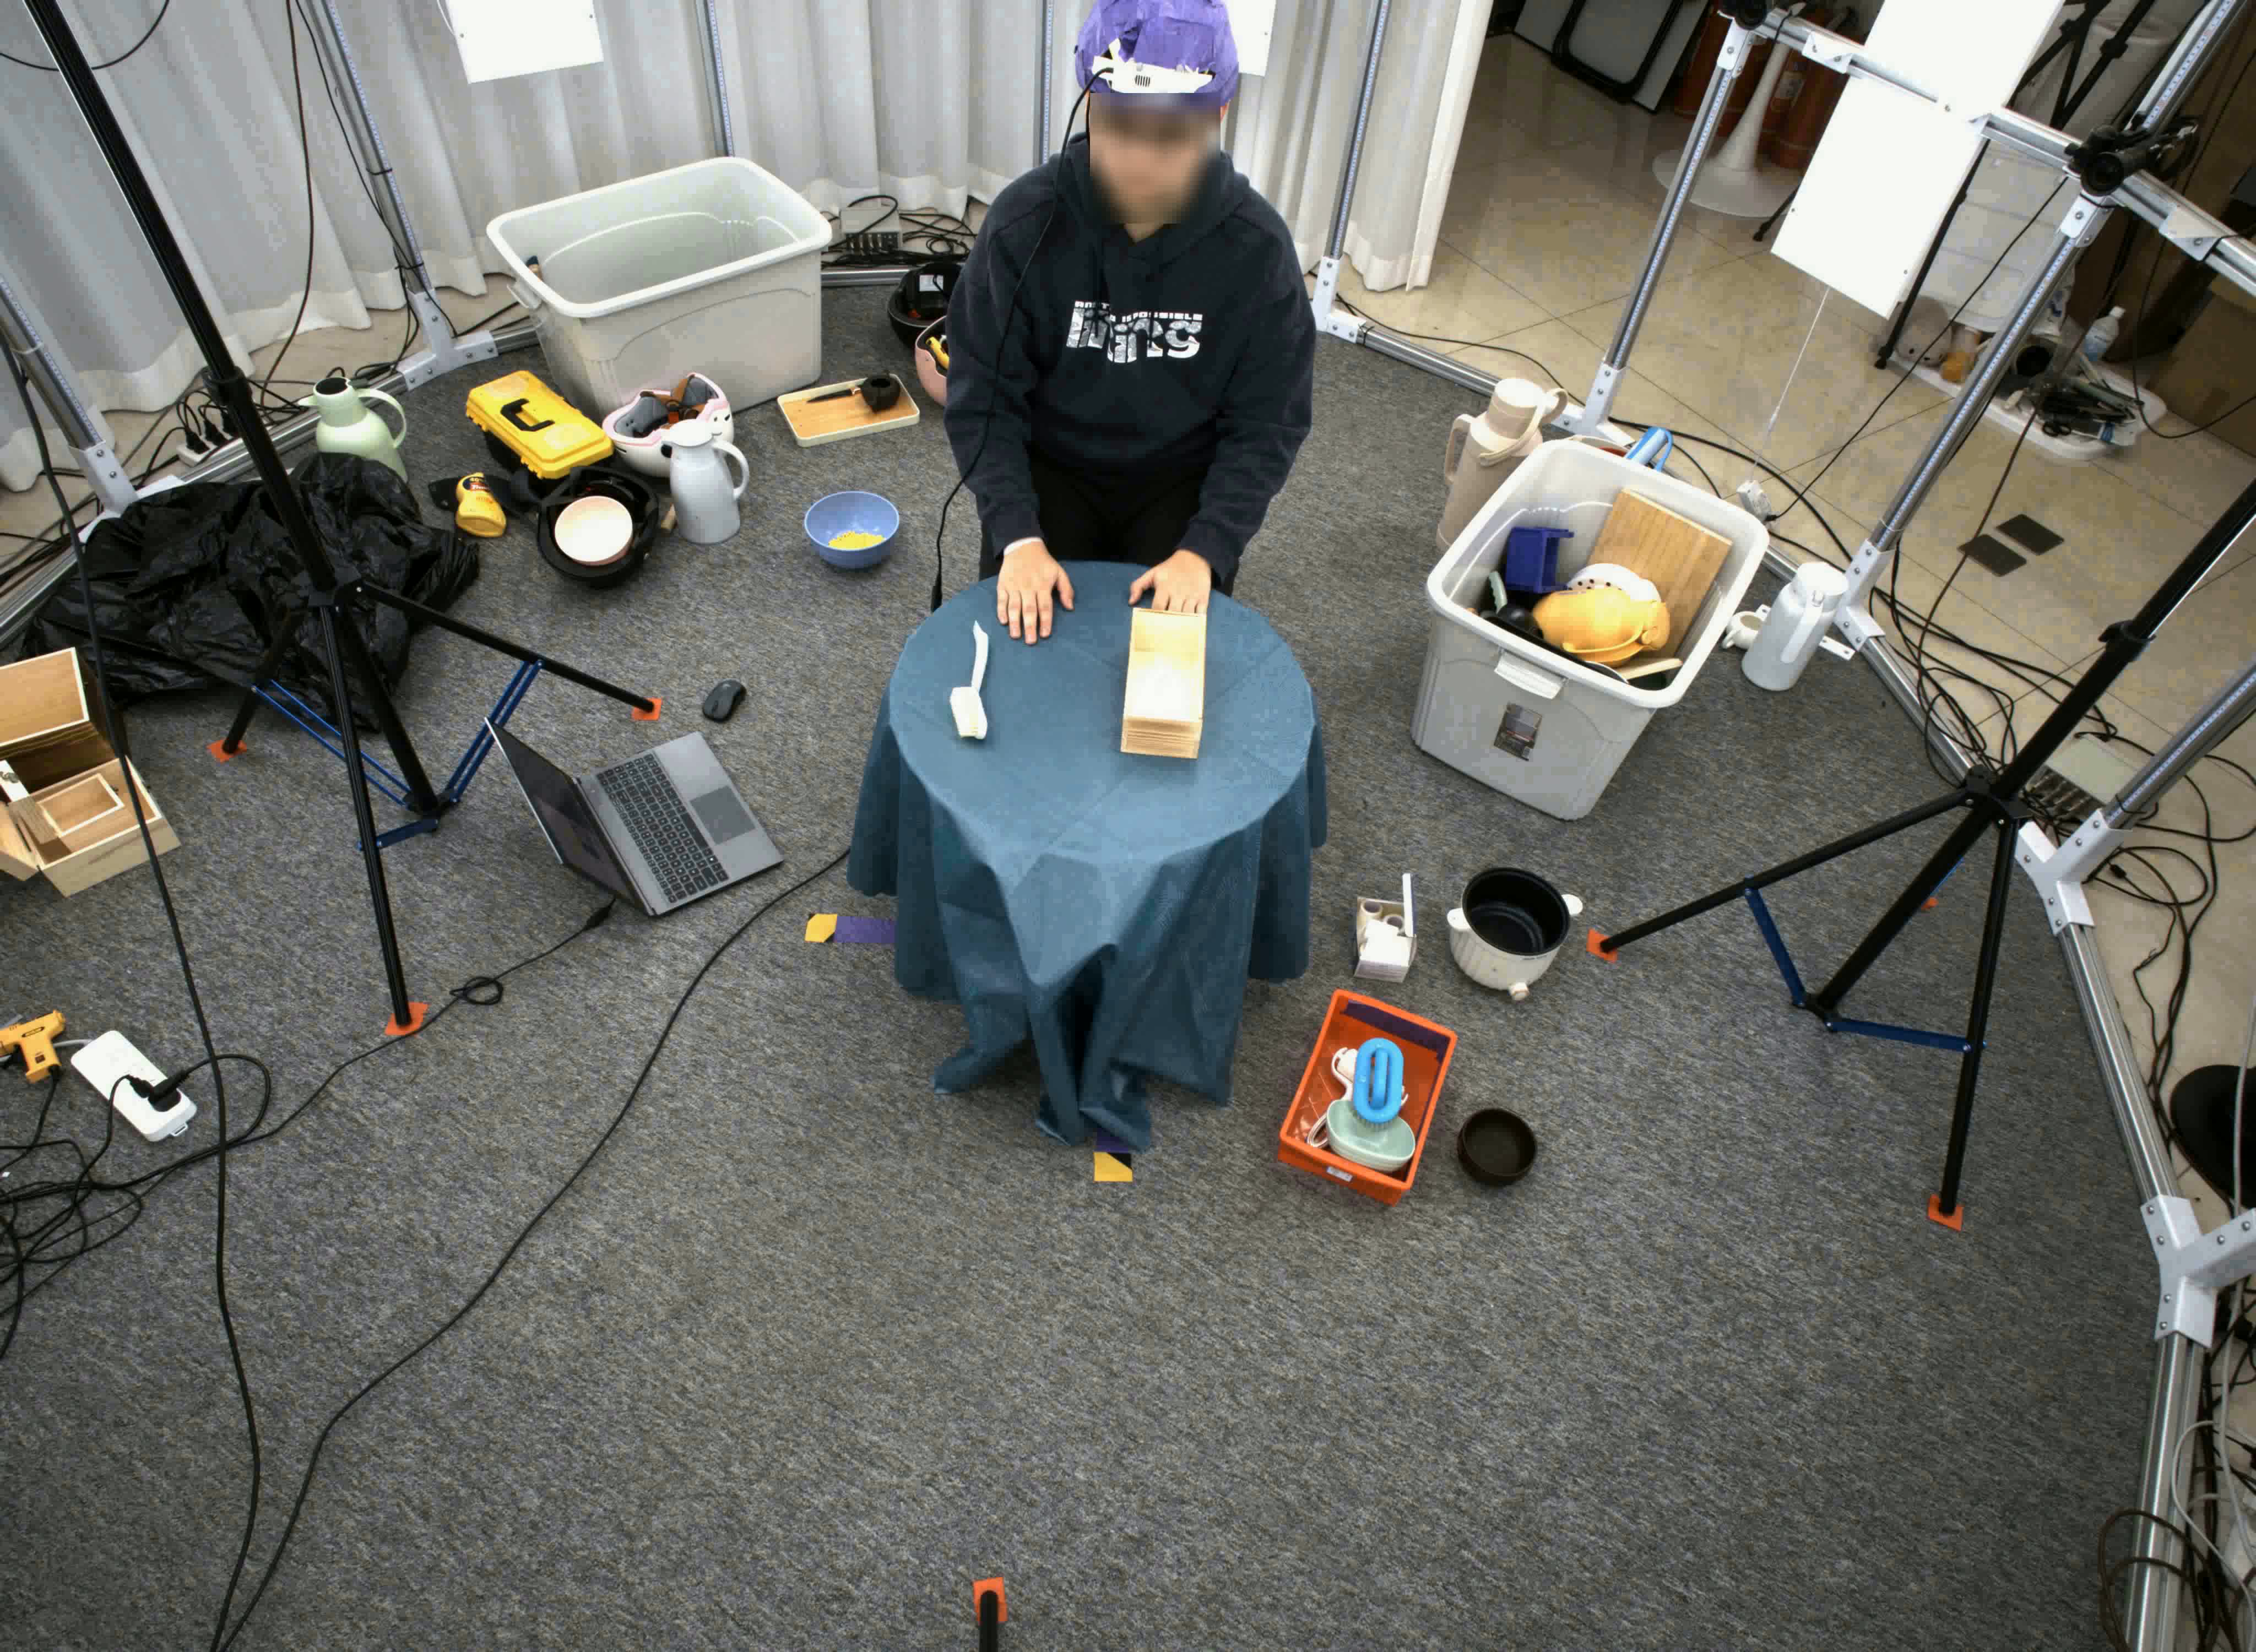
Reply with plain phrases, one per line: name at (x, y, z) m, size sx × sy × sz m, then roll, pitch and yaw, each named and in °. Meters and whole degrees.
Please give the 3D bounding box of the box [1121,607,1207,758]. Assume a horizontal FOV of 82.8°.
box at (0.052, -0.203, 1.794) m, size 0.107 × 0.078 × 0.216 m, roll 5°, pitch 49°, yaw -1°

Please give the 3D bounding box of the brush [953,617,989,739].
brush at (-0.220, -0.212, 1.808) m, size 0.049 × 0.037 × 0.234 m, roll 4°, pitch 49°, yaw -10°
